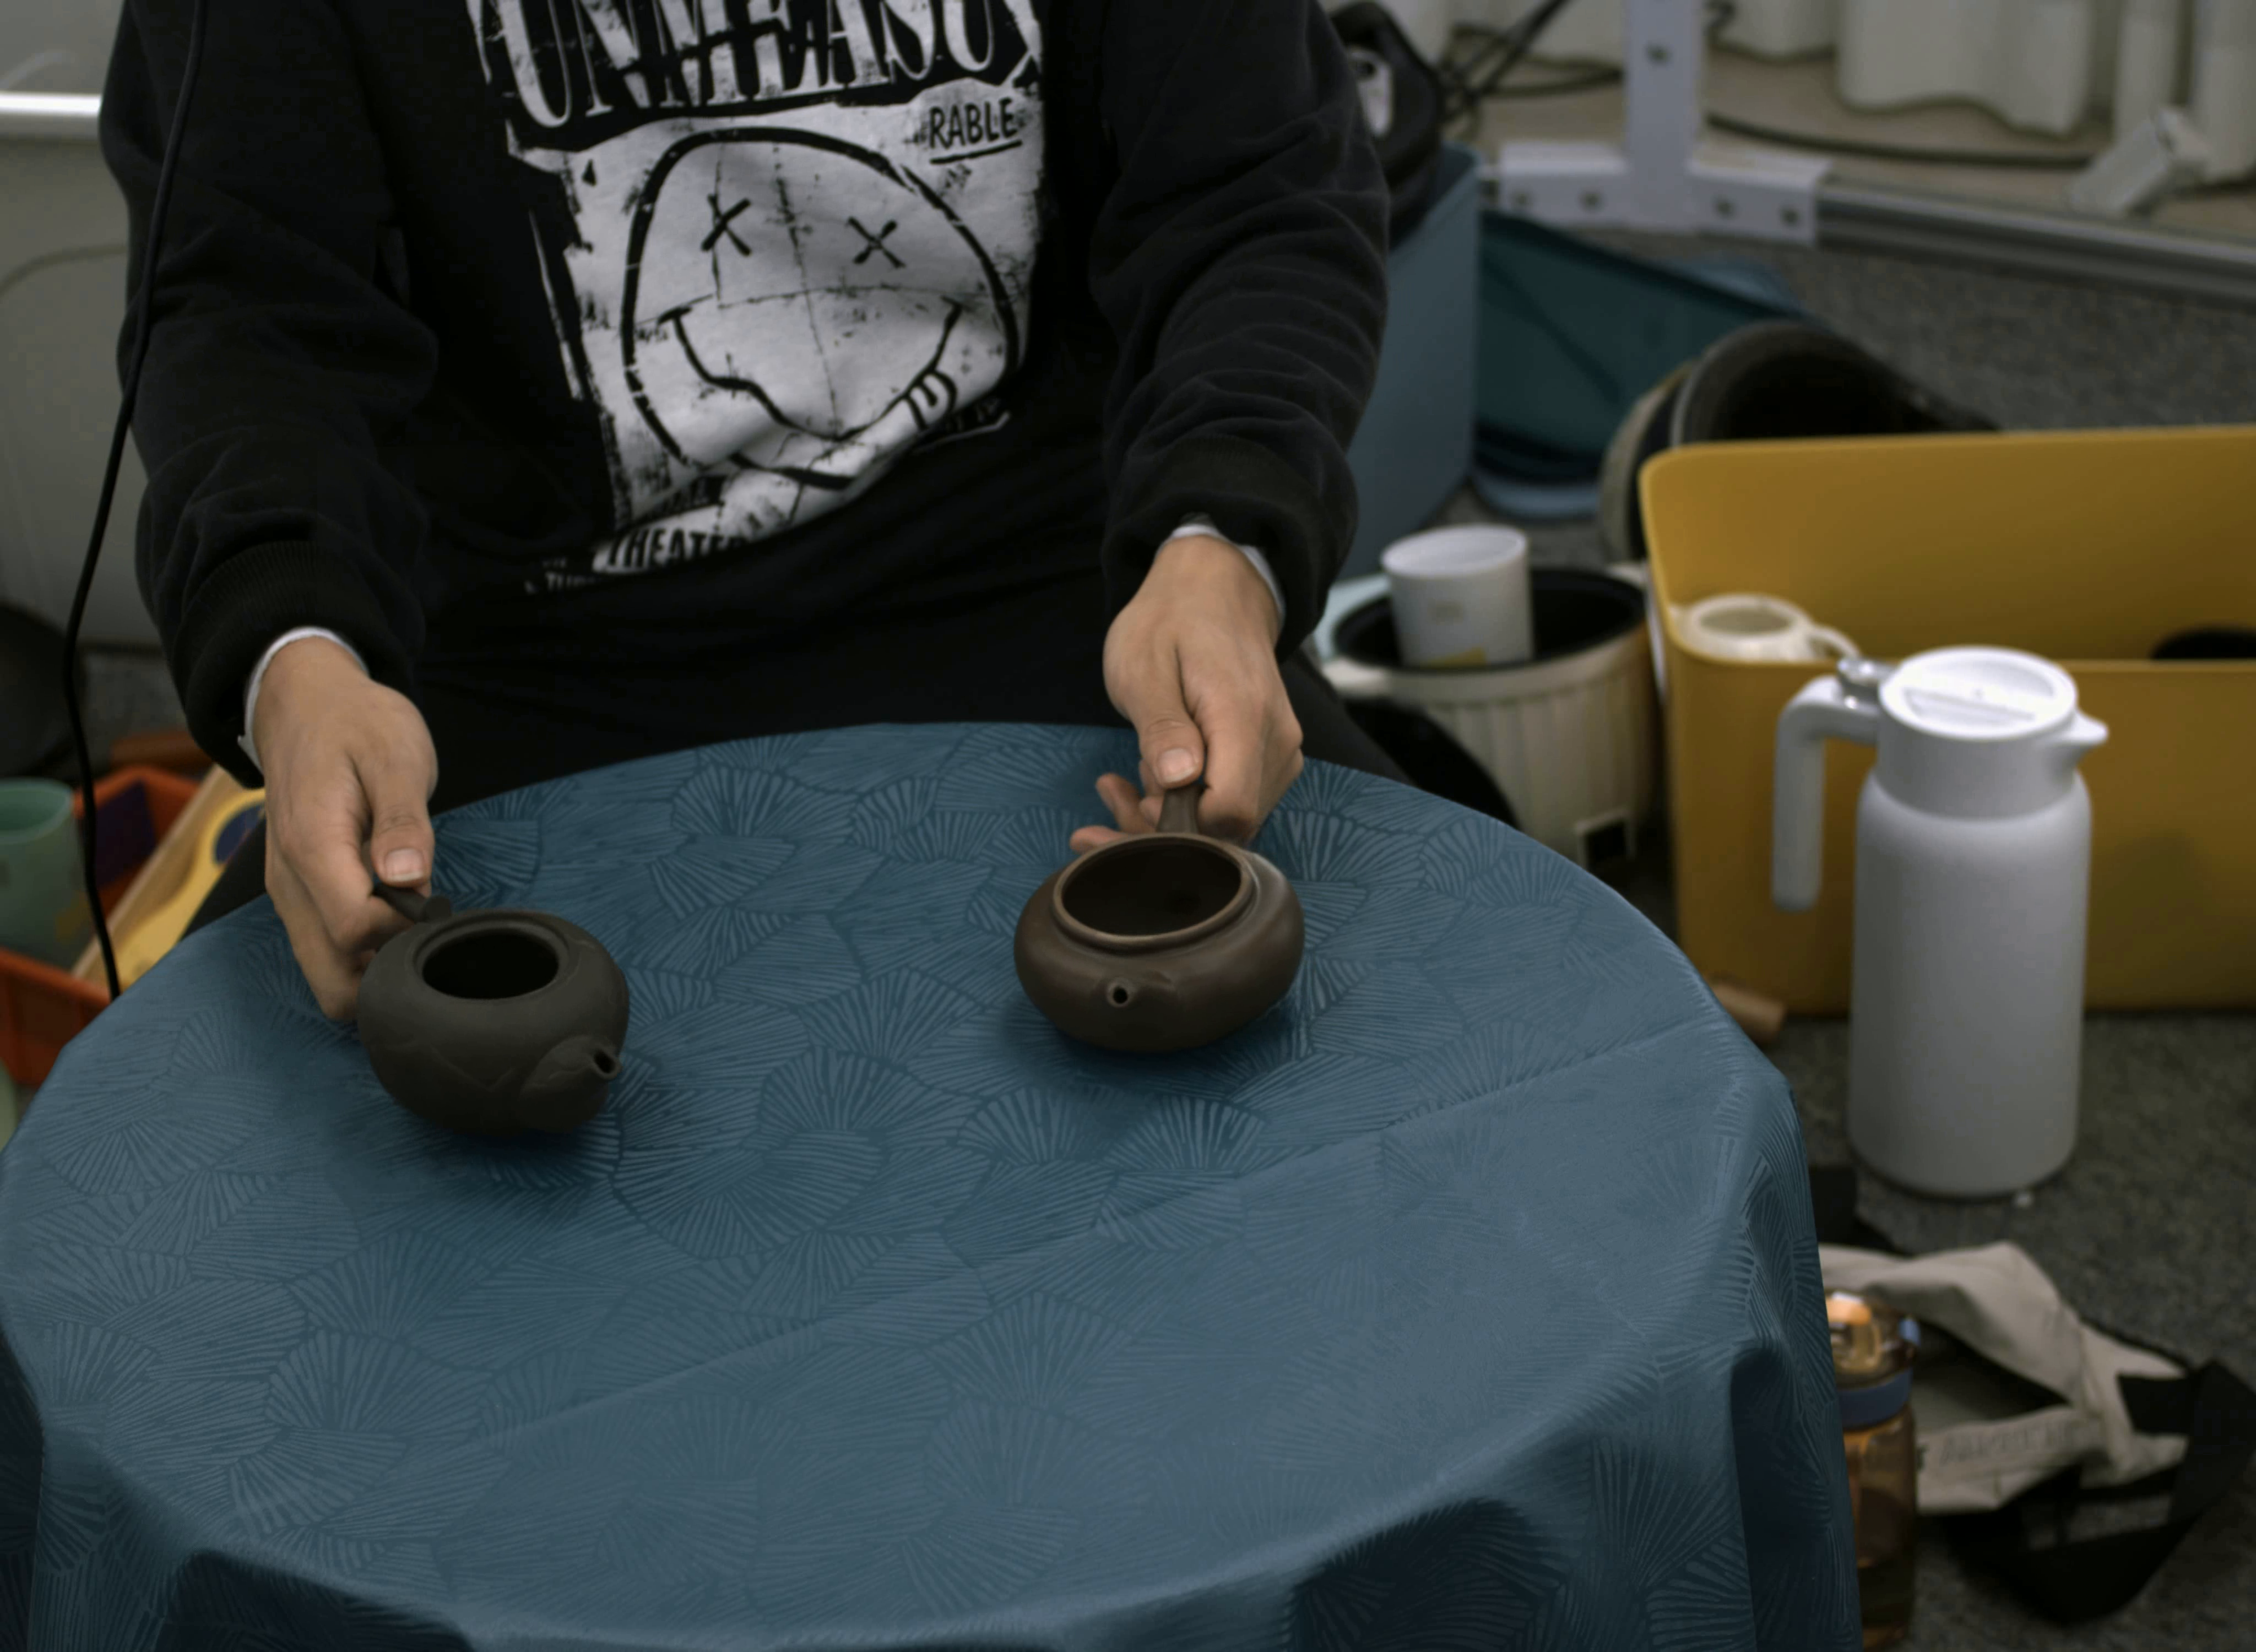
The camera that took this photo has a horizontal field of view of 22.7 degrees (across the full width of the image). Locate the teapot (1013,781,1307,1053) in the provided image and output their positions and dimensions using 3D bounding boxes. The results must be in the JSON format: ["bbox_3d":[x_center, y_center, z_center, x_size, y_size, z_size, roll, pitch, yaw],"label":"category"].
[{"bbox_3d":[0.011,0.036,1.958,0.102,0.053,0.156,-1,32,5],"label":"teapot"}]

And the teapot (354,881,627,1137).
[{"bbox_3d":[-0.219,0.066,1.915,0.093,0.063,0.155,-17,36,-34],"label":"teapot"}]
